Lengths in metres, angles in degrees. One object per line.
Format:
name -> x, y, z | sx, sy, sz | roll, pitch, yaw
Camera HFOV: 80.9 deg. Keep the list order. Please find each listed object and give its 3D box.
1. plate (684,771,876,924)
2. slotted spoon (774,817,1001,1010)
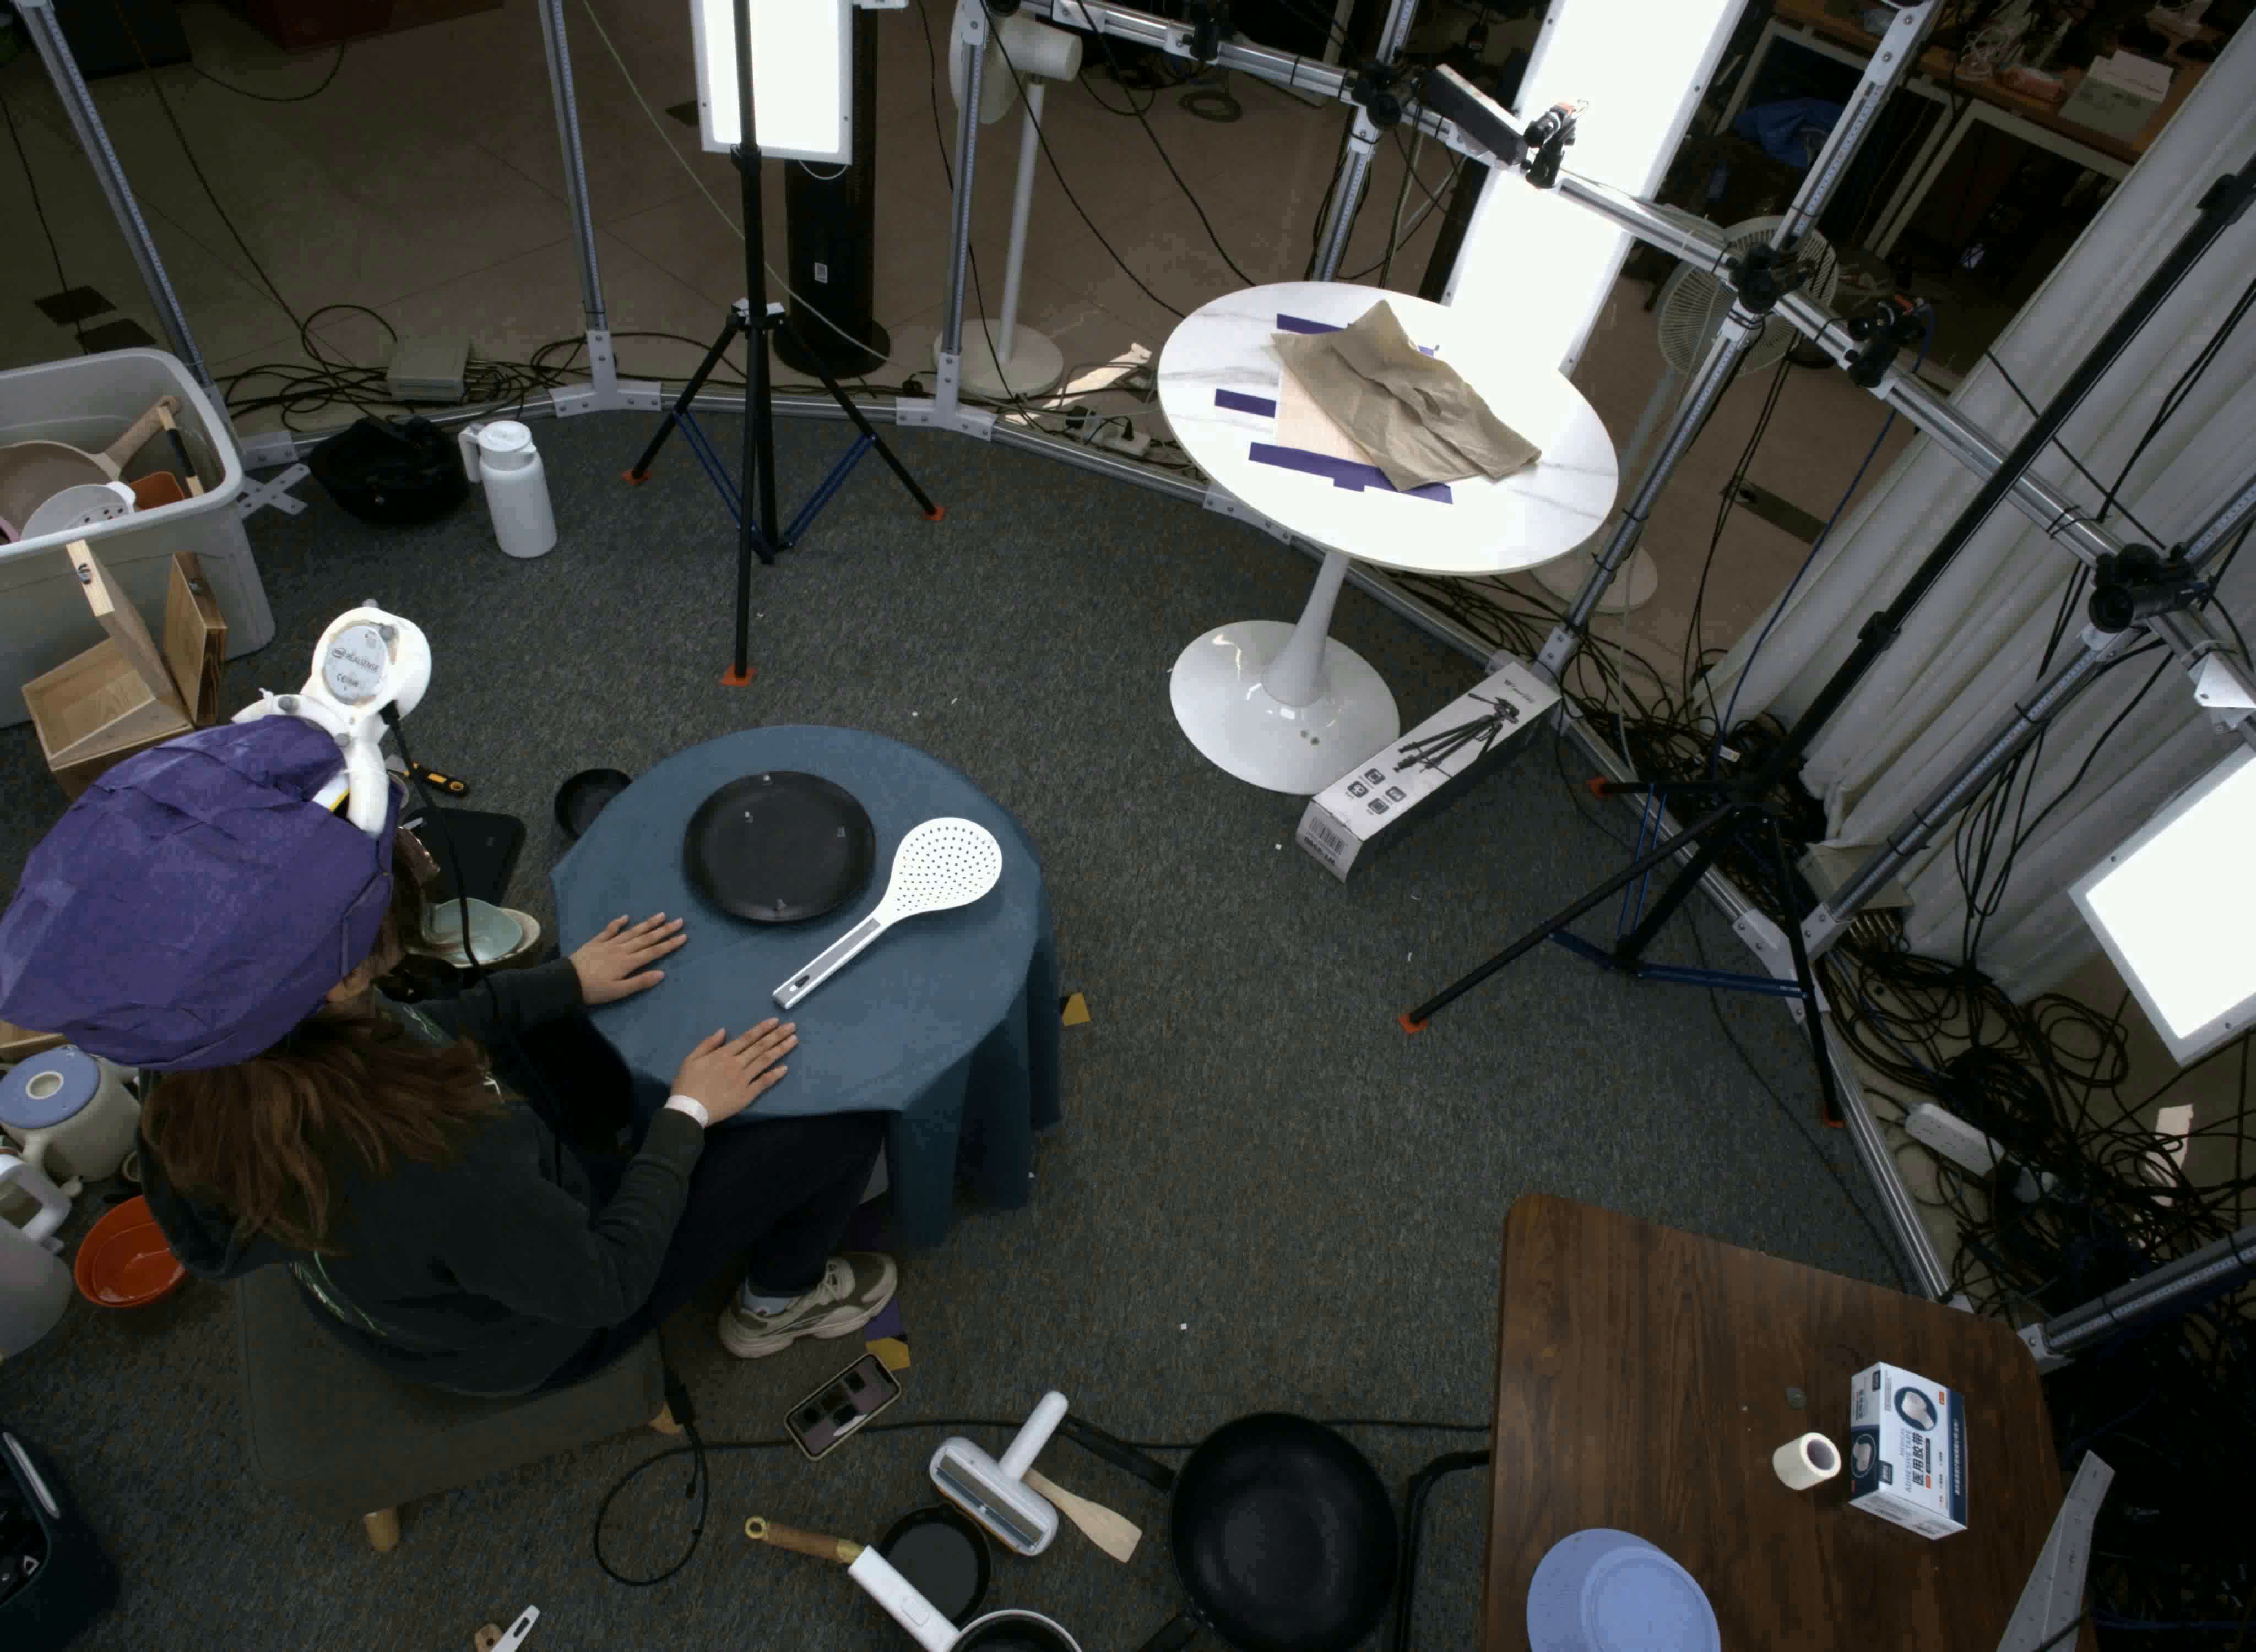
plate -> -0.451, 0.027, 1.687 | 0.244, 0.024, 0.240 | 8, 53, -9
slotted spoon -> -0.305, 0.110, 1.648 | 0.133, 0.047, 0.350 | 38, 55, 18
